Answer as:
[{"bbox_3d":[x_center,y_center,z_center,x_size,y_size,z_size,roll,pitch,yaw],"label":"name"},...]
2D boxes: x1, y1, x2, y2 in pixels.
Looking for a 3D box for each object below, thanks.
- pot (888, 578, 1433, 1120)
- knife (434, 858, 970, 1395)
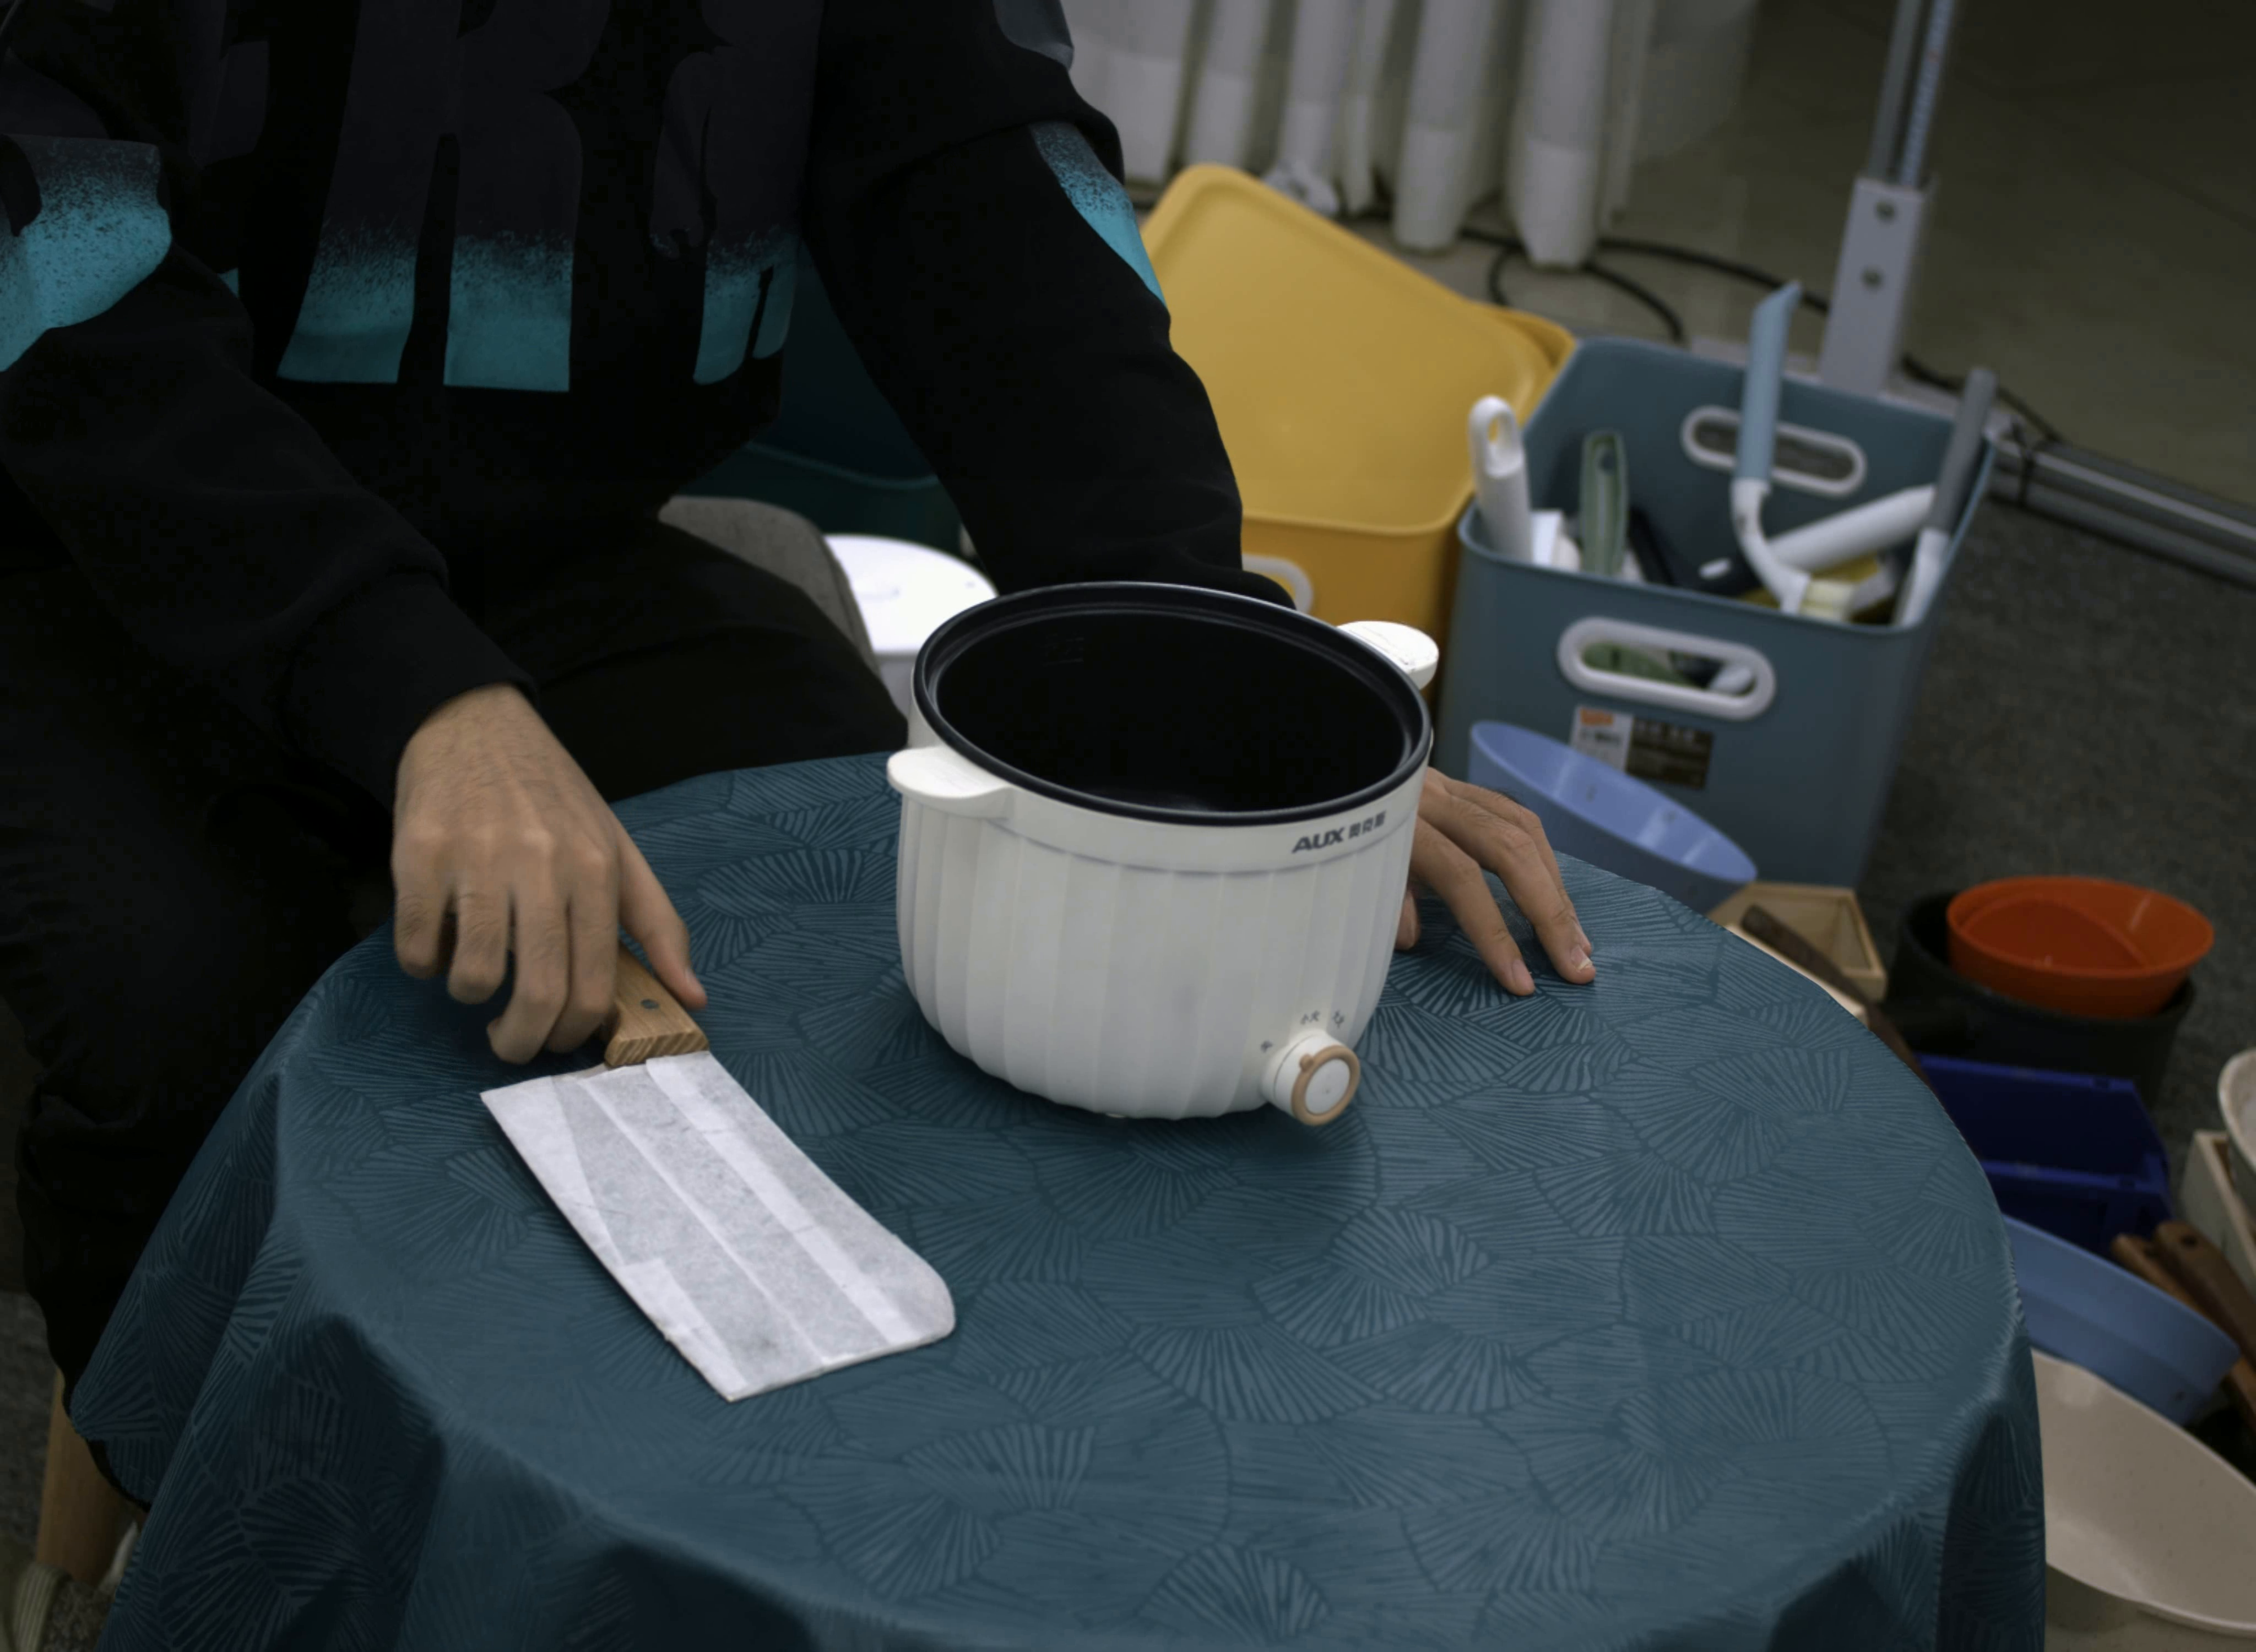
[{"bbox_3d":[0.013,0.014,1.867,0.239,0.142,0.192,-17,32,-37],"label":"pot"},{"bbox_3d":[-0.159,0.097,1.800,0.113,0.021,0.318,-9,33,-27],"label":"knife"}]
